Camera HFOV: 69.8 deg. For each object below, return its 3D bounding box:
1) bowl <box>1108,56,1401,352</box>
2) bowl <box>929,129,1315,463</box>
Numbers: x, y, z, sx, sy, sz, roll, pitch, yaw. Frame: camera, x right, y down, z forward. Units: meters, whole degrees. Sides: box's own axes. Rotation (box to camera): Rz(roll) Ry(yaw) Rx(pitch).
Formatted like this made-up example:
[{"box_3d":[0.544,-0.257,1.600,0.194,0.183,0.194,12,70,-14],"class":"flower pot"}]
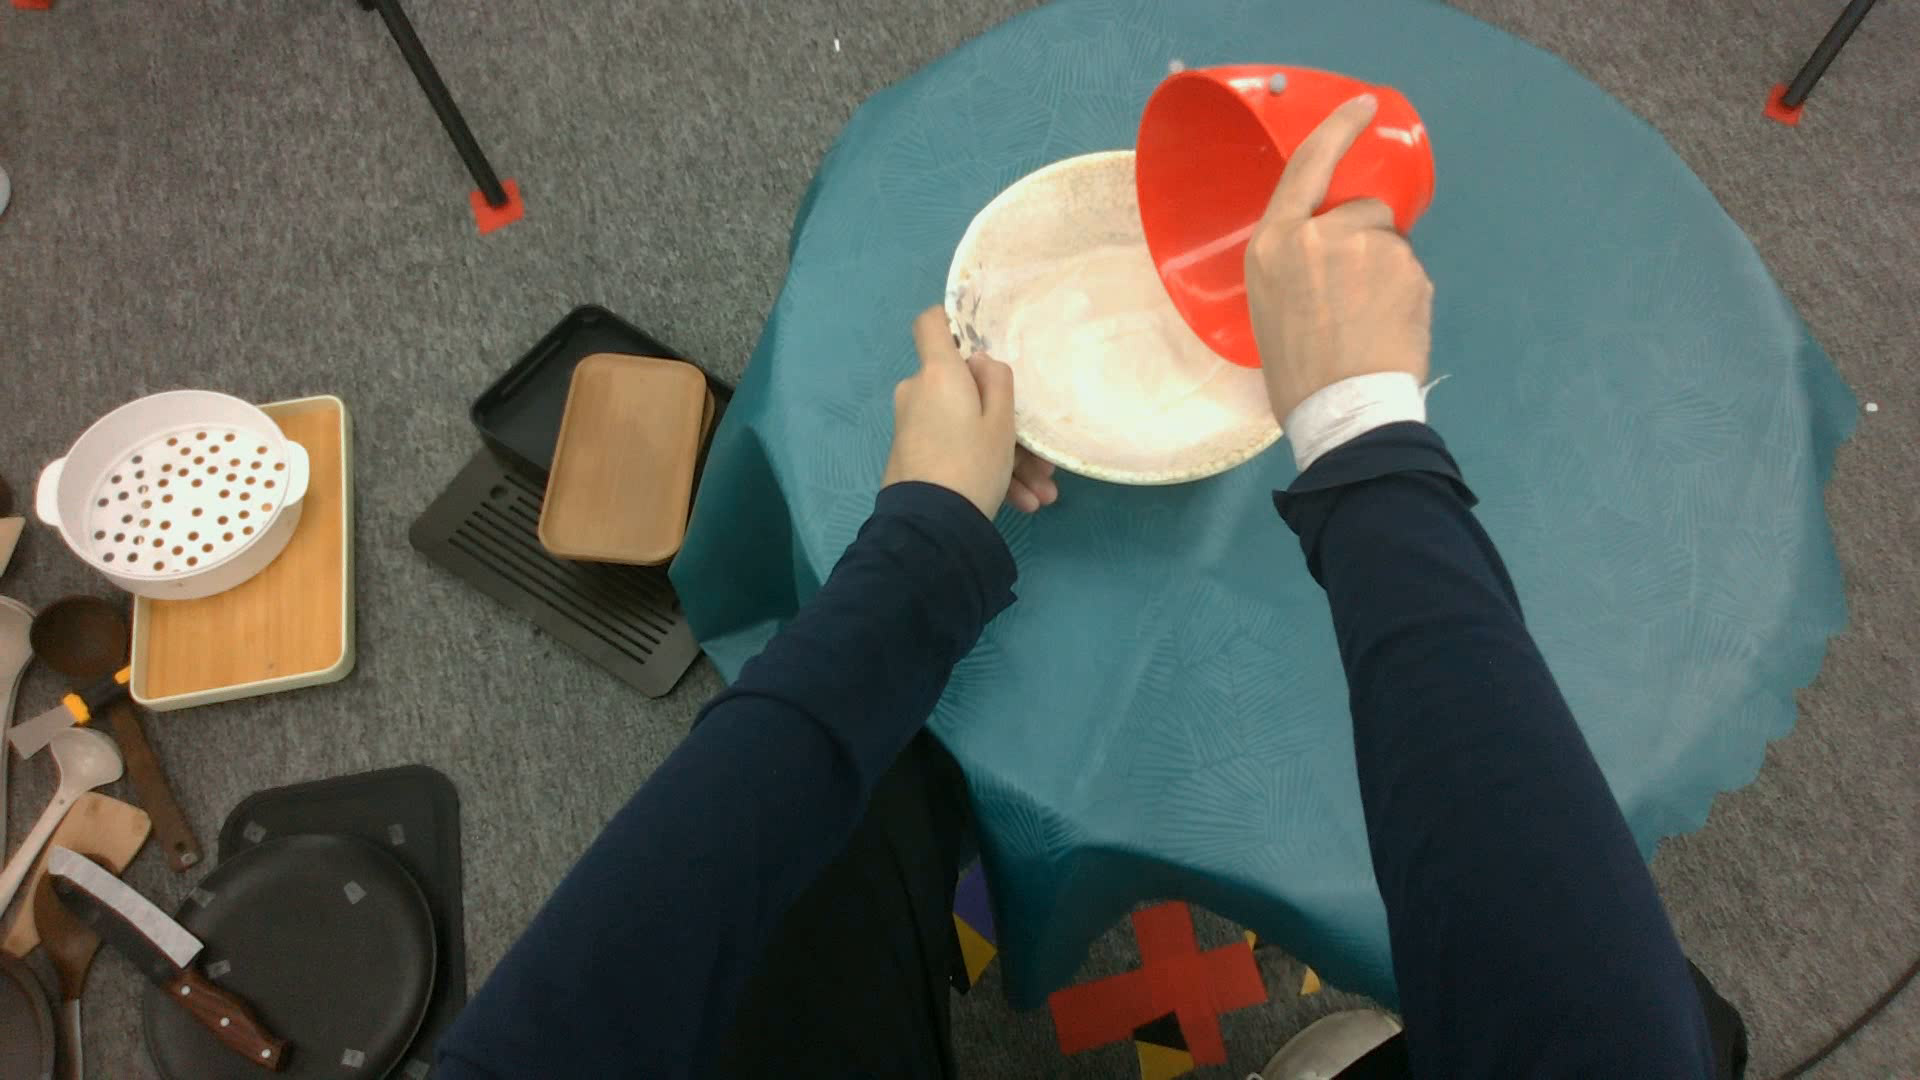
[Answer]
[{"box_3d":[0.151,-0.178,0.686,0.105,0.147,0.148,-23,70,-8],"class":"bowl"},{"box_3d":[0.085,-0.121,0.758,0.204,0.077,0.204,0,68,0],"class":"bowl"}]
